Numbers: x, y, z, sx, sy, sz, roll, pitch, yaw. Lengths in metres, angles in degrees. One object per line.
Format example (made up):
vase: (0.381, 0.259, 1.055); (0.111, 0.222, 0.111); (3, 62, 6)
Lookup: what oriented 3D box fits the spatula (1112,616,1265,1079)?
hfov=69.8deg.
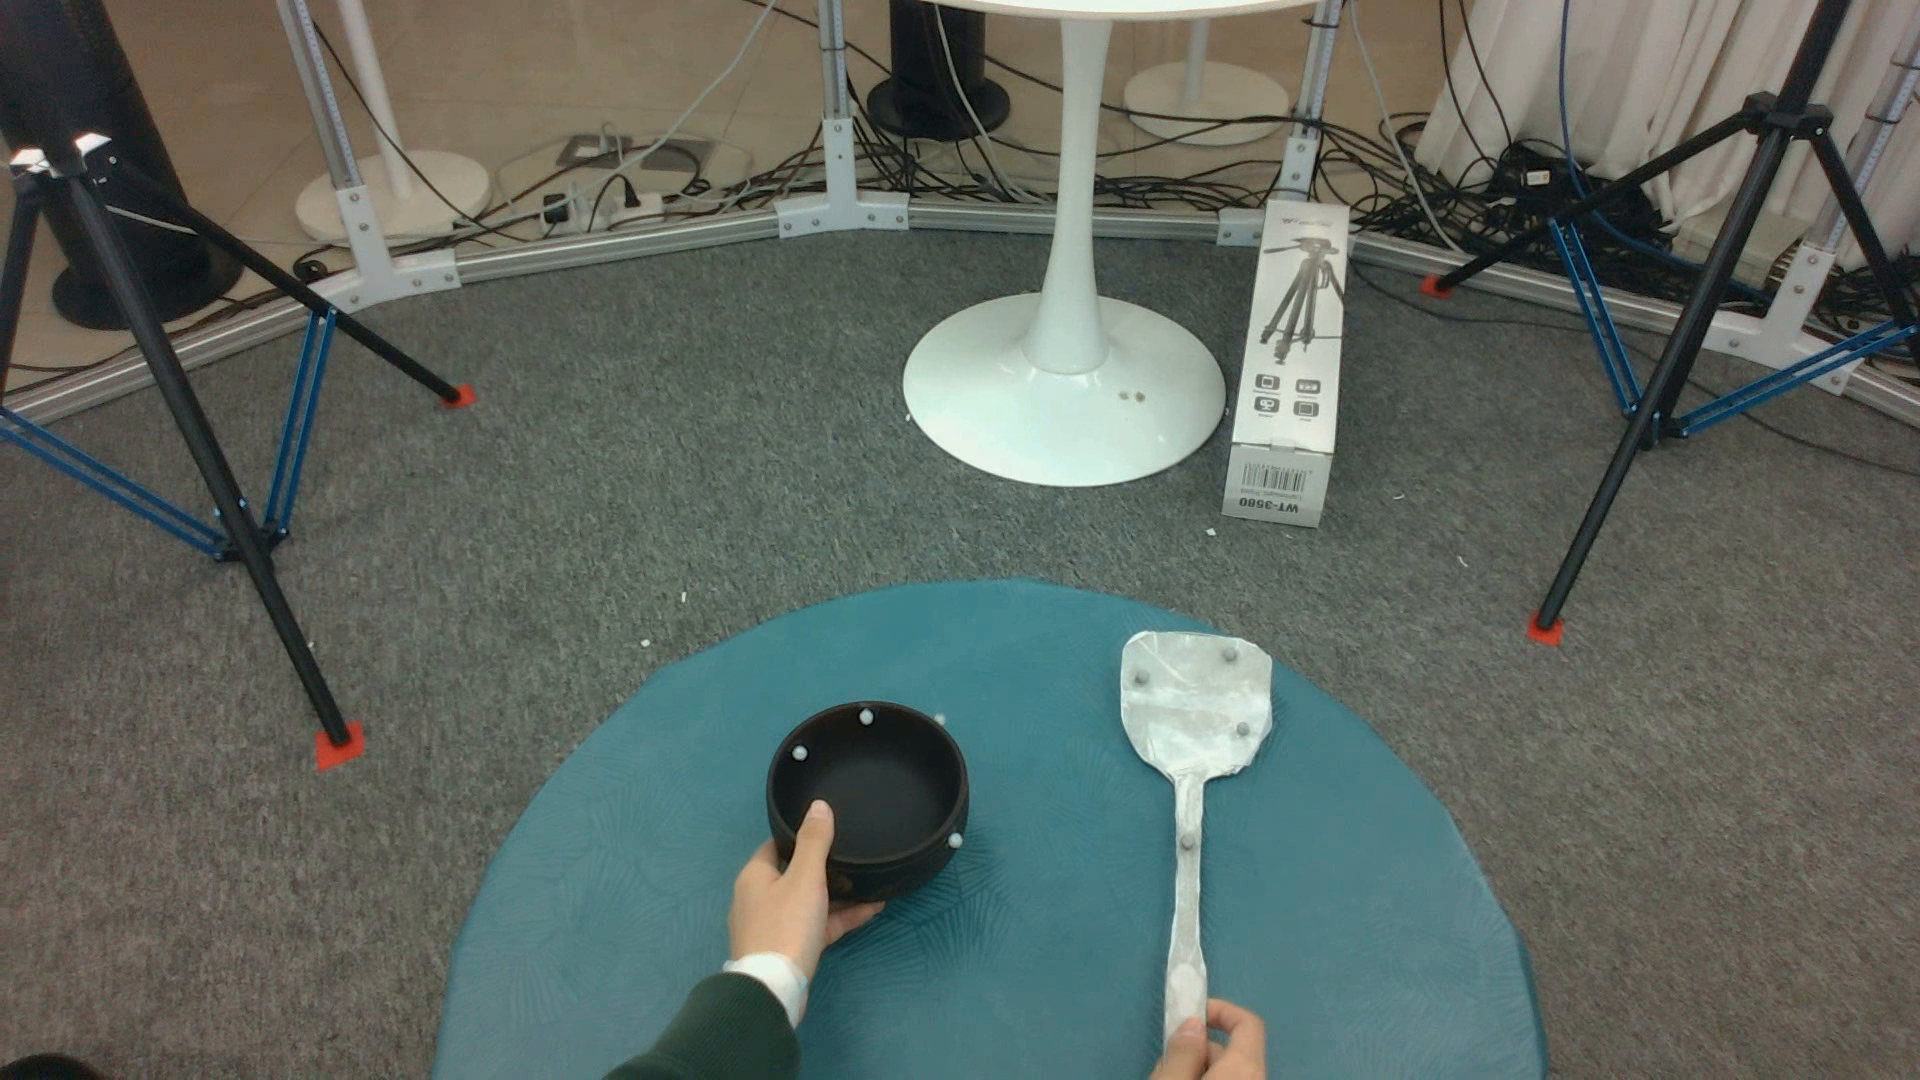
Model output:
spatula: (0.123, 0.184, 0.788); (0.098, 0.044, 0.367); (8, 40, 6)

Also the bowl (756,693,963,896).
bowl: (-0.057, 0.154, 0.799); (0.118, 0.069, 0.118); (-1, 44, 1)
